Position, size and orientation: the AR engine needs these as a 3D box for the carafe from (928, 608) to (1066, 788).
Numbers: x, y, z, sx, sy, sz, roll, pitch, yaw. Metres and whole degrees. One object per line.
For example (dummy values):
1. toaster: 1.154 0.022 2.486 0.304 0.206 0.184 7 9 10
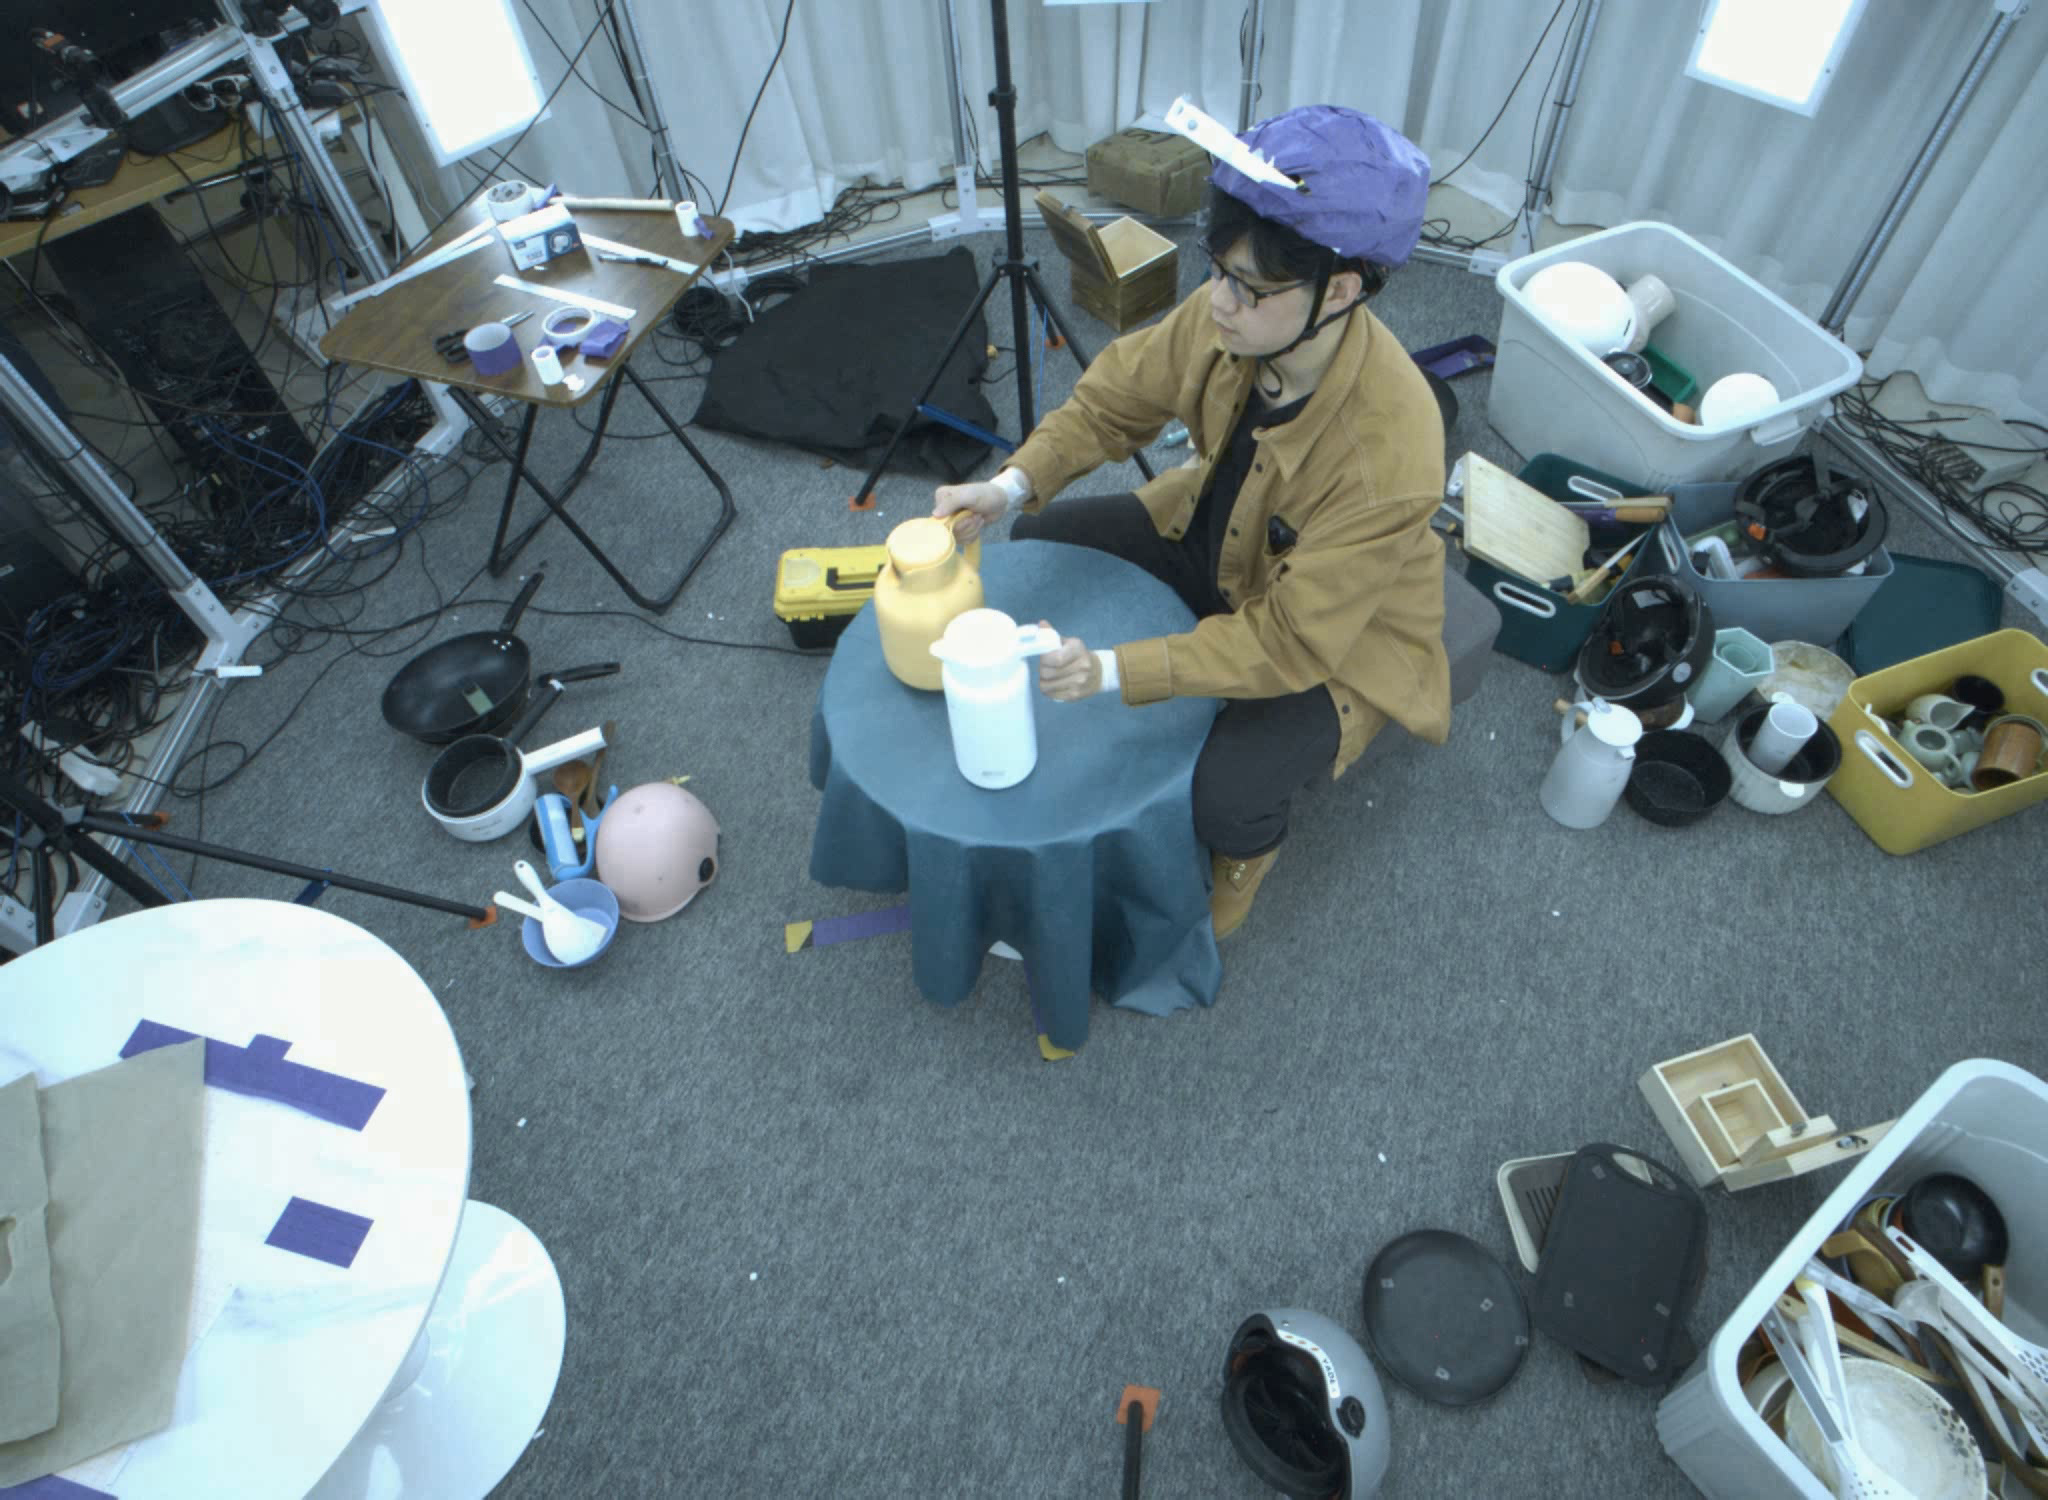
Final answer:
1. carafe: -0.030 -0.071 1.669 0.173 0.272 0.122 -10 52 -4

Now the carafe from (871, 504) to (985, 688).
1. carafe: -0.129 -0.232 1.791 0.161 0.263 0.203 29 62 19
